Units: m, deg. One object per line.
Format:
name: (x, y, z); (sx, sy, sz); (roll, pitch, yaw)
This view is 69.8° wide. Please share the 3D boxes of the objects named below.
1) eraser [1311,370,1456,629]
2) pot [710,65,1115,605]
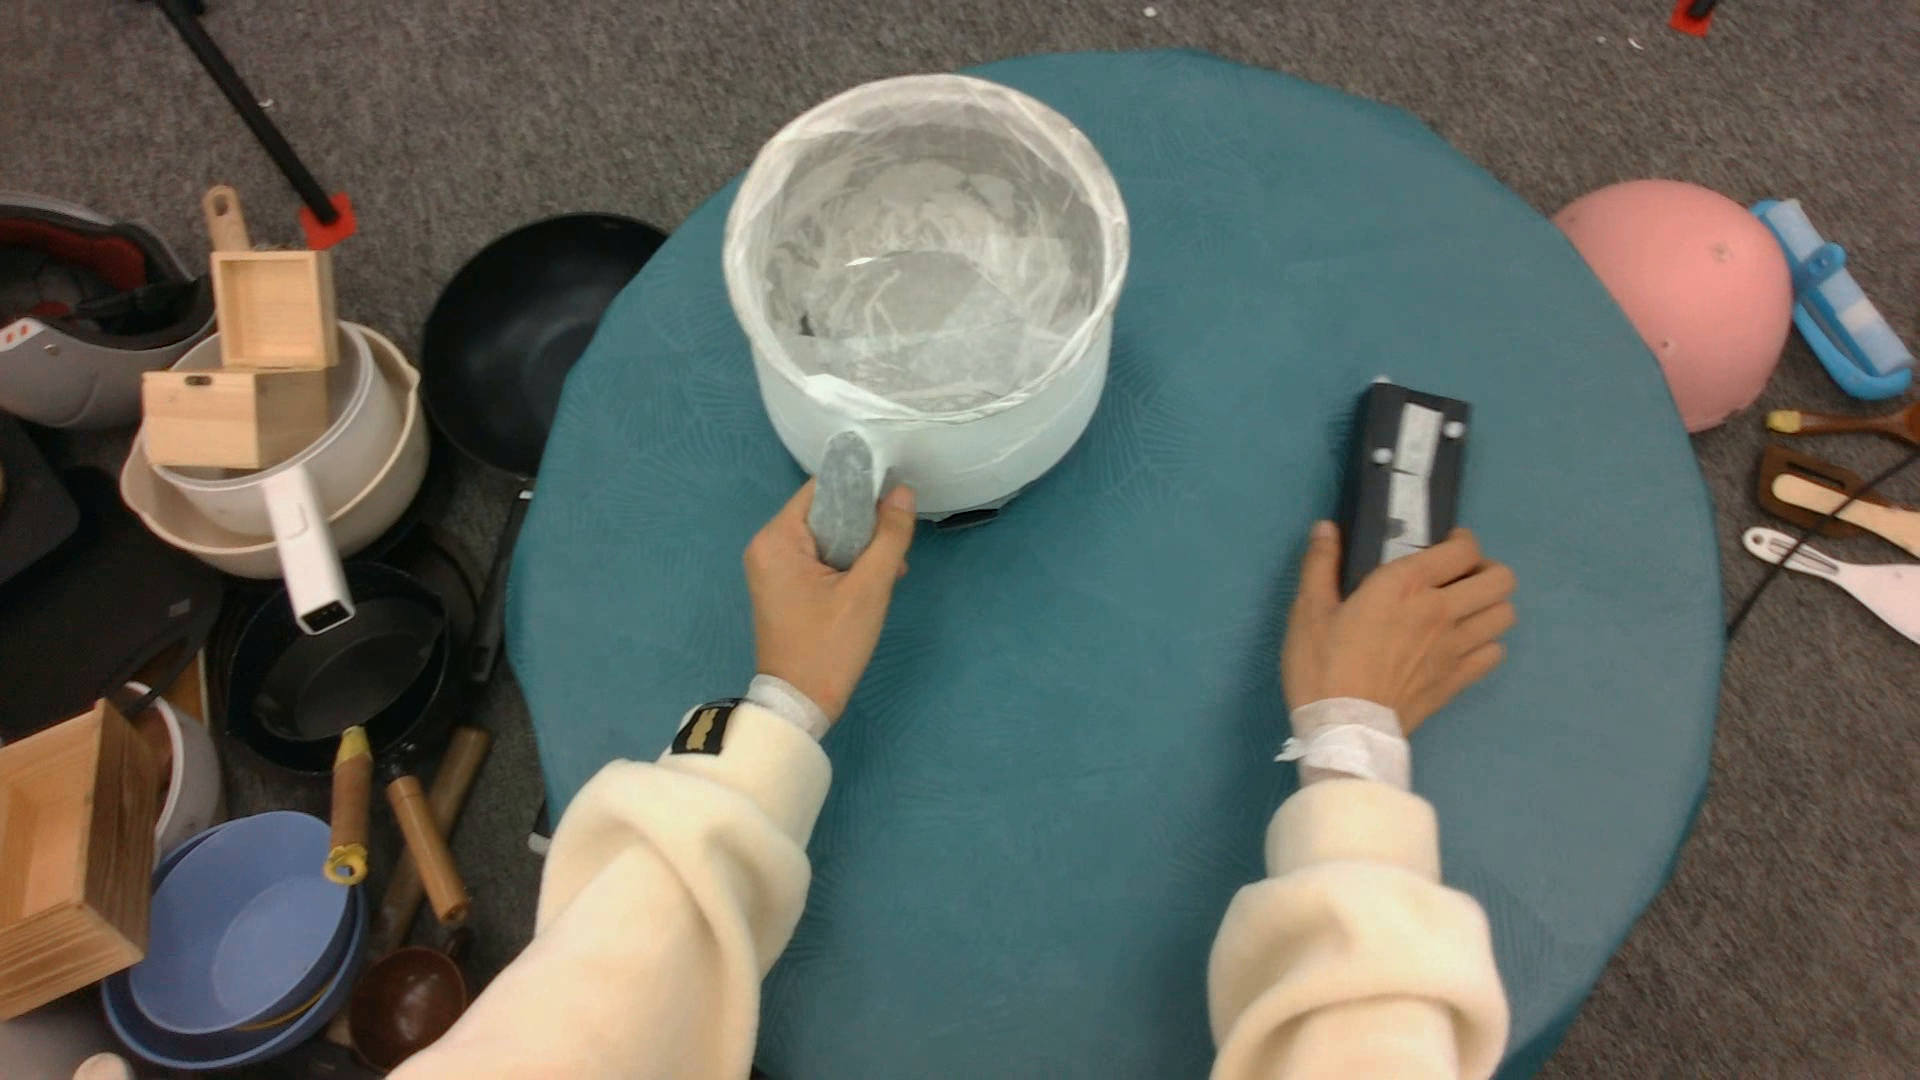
eraser: (0.210, -0.021, 0.682); (0.053, 0.030, 0.126); (14, 71, 0)
pot: (-0.028, -0.089, 0.651); (0.178, 0.136, 0.234); (14, 69, 6)
